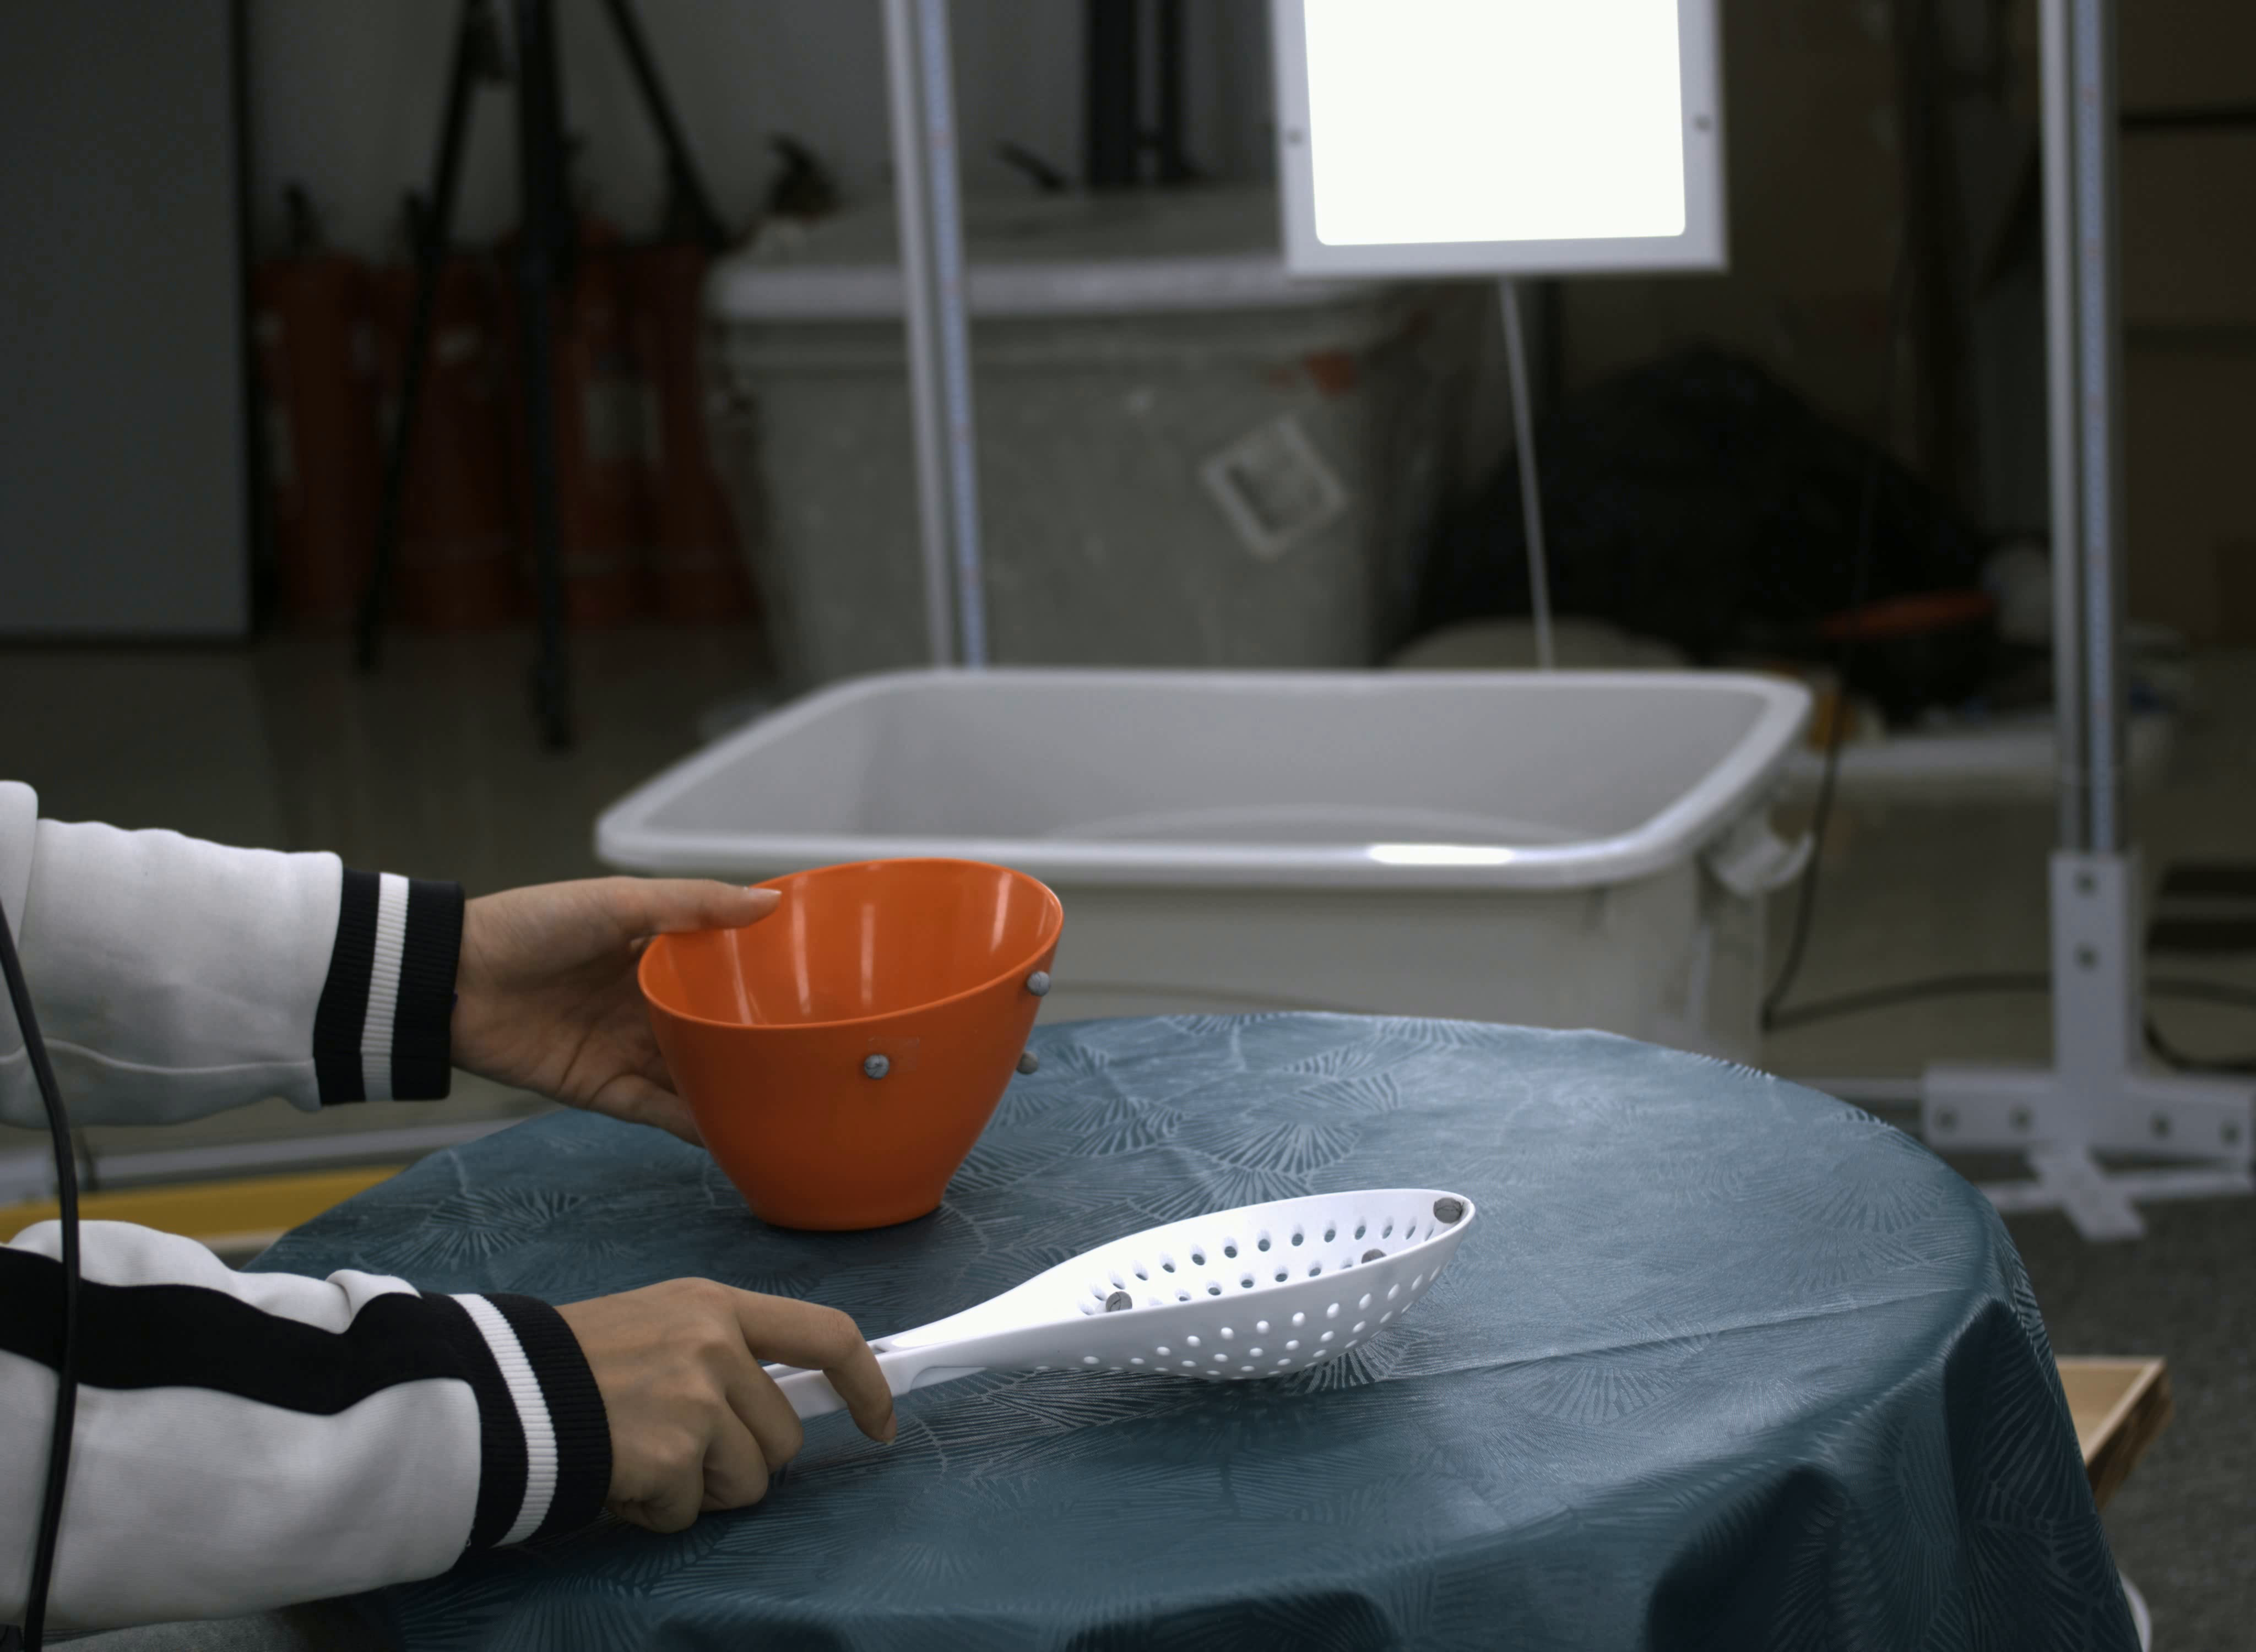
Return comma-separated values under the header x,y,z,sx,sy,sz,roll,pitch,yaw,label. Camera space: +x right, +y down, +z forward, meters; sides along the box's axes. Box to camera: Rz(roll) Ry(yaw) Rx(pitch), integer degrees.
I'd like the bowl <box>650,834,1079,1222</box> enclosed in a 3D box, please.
x,y,z,sx,sy,sz,roll,pitch,yaw,label
-0.092,0.074,1.907,0.147,0.105,0.148,1,18,-2,bowl

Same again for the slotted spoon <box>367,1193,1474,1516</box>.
x,y,z,sx,sy,sz,roll,pitch,yaw,label
-0.059,0.159,1.670,0.344,0.046,0.138,-7,5,-16,slotted spoon
